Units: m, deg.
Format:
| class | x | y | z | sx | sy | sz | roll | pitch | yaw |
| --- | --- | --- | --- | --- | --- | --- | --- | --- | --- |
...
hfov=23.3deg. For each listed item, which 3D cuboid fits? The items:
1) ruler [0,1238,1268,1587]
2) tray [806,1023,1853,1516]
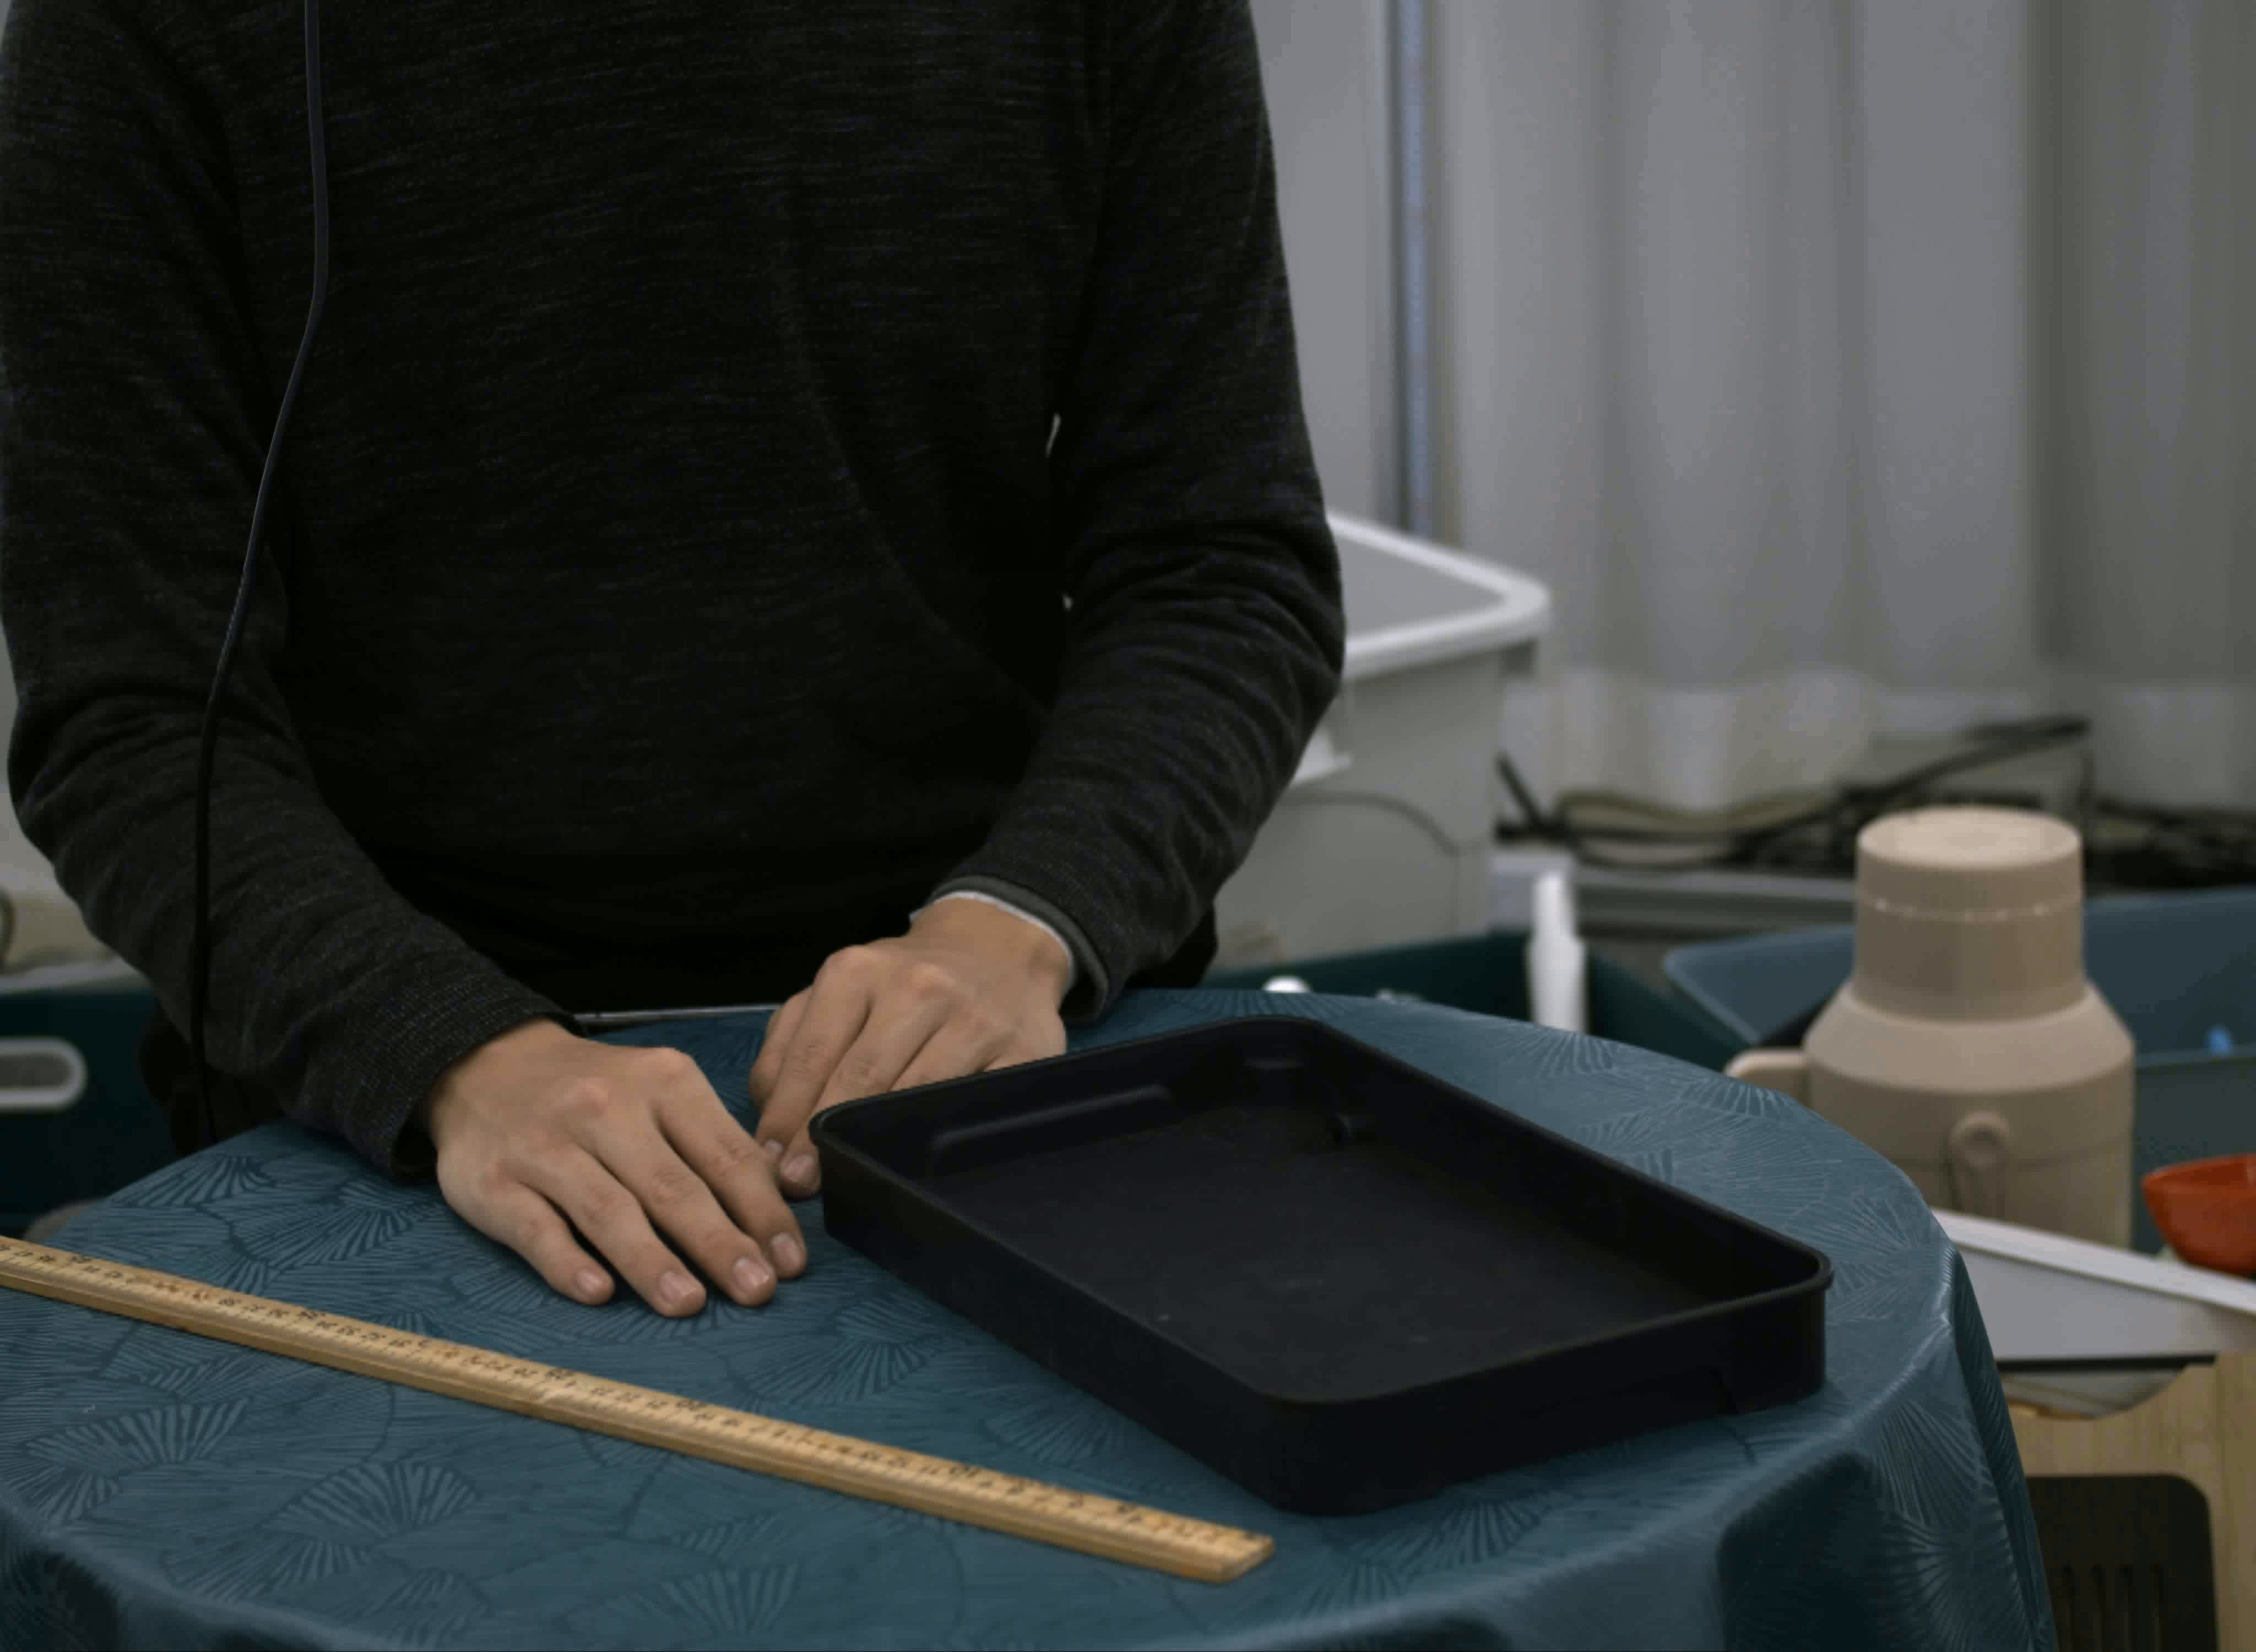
| class | x | y | z | sx | sy | sz | roll | pitch | yaw |
| --- | --- | --- | --- | --- | --- | --- | --- | --- | --- |
| ruler | -0.167 | 0.162 | 1.559 | 0.502 | 0.006 | 0.027 | 8 | 16 | 37 |
| tray | 0.052 | 0.124 | 1.602 | 0.183 | 0.037 | 0.320 | -11 | 16 | -28 |
